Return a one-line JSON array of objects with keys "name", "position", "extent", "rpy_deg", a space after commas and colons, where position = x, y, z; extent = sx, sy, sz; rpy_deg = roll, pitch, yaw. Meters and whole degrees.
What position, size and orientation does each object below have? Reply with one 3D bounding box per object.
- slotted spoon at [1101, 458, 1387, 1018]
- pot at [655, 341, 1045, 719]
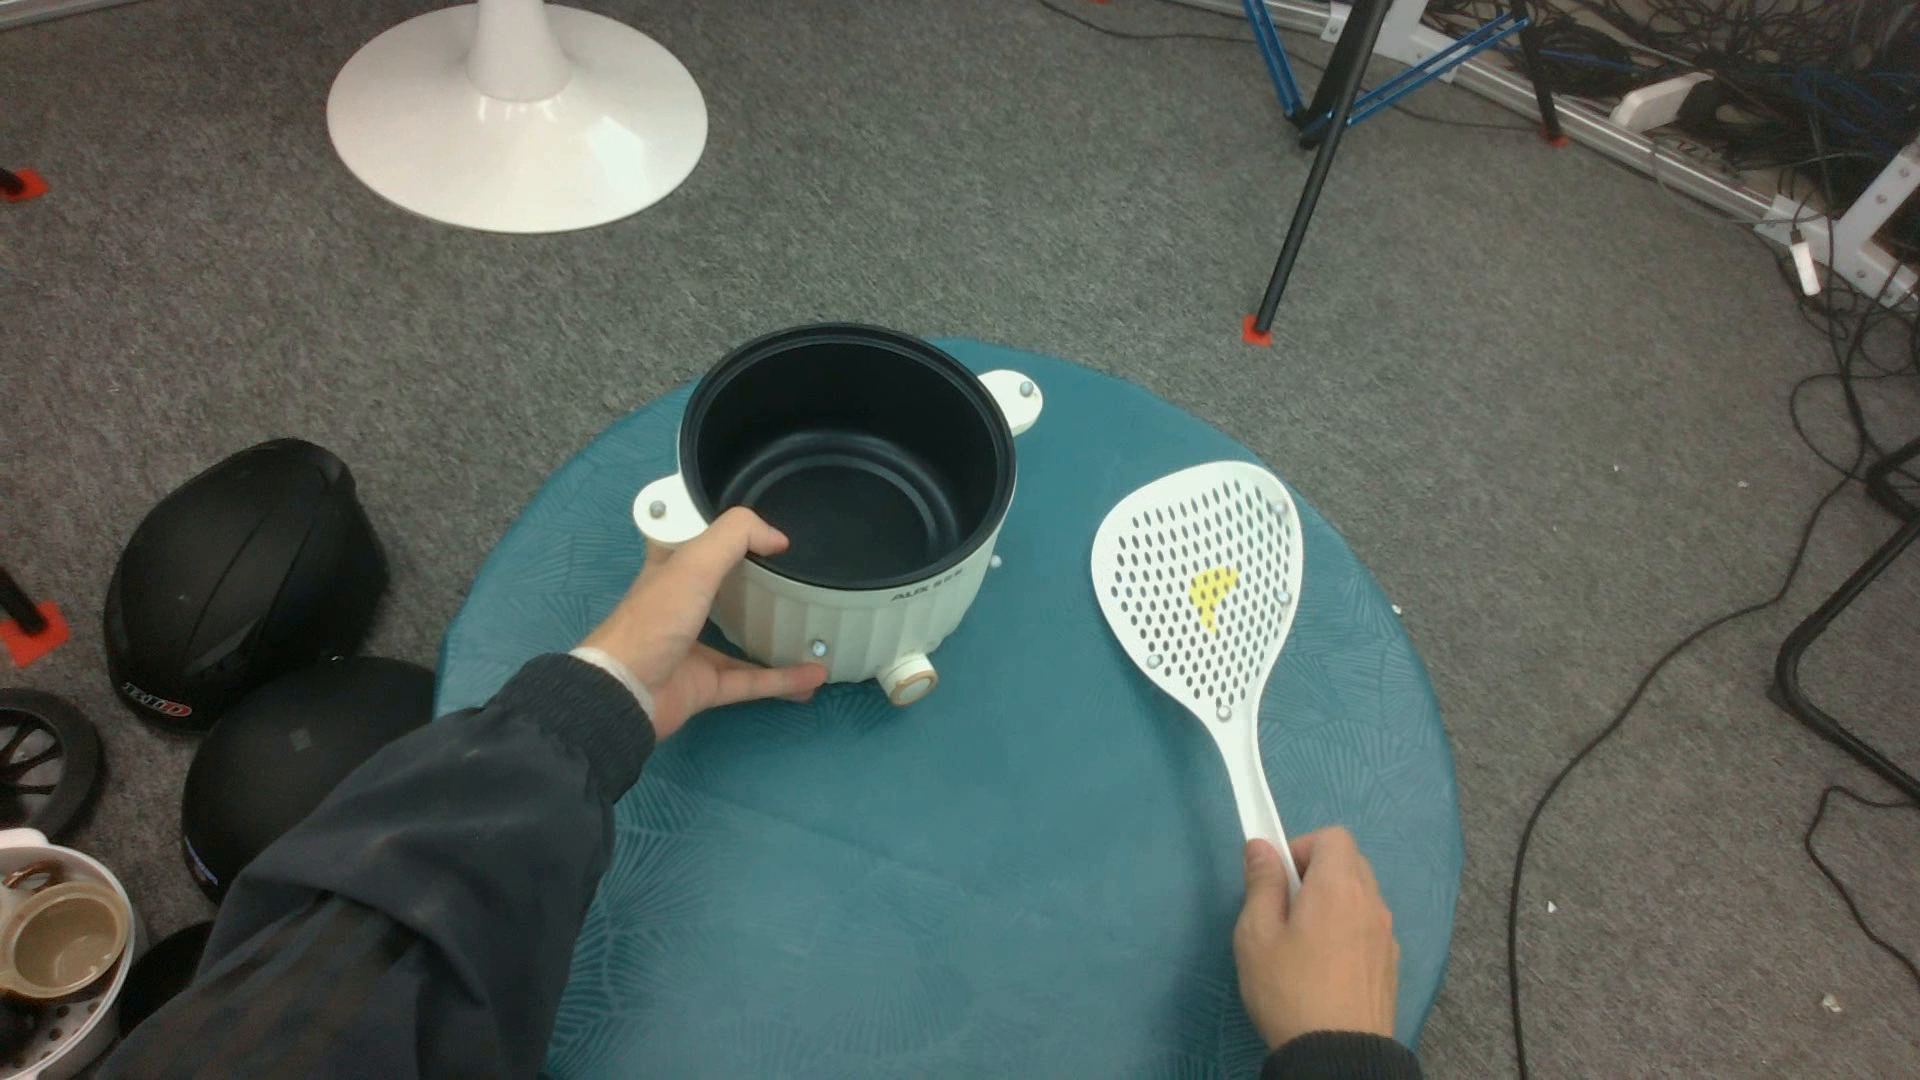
[{"name": "slotted spoon", "position": [0.176, 0.103, 0.807], "extent": [0.136, 0.050, 0.349], "rpy_deg": [-22, 51, 15]}, {"name": "pot", "position": [-0.057, 0.001, 0.801], "extent": [0.241, 0.142, 0.191], "rpy_deg": [-25, 58, -22]}]
